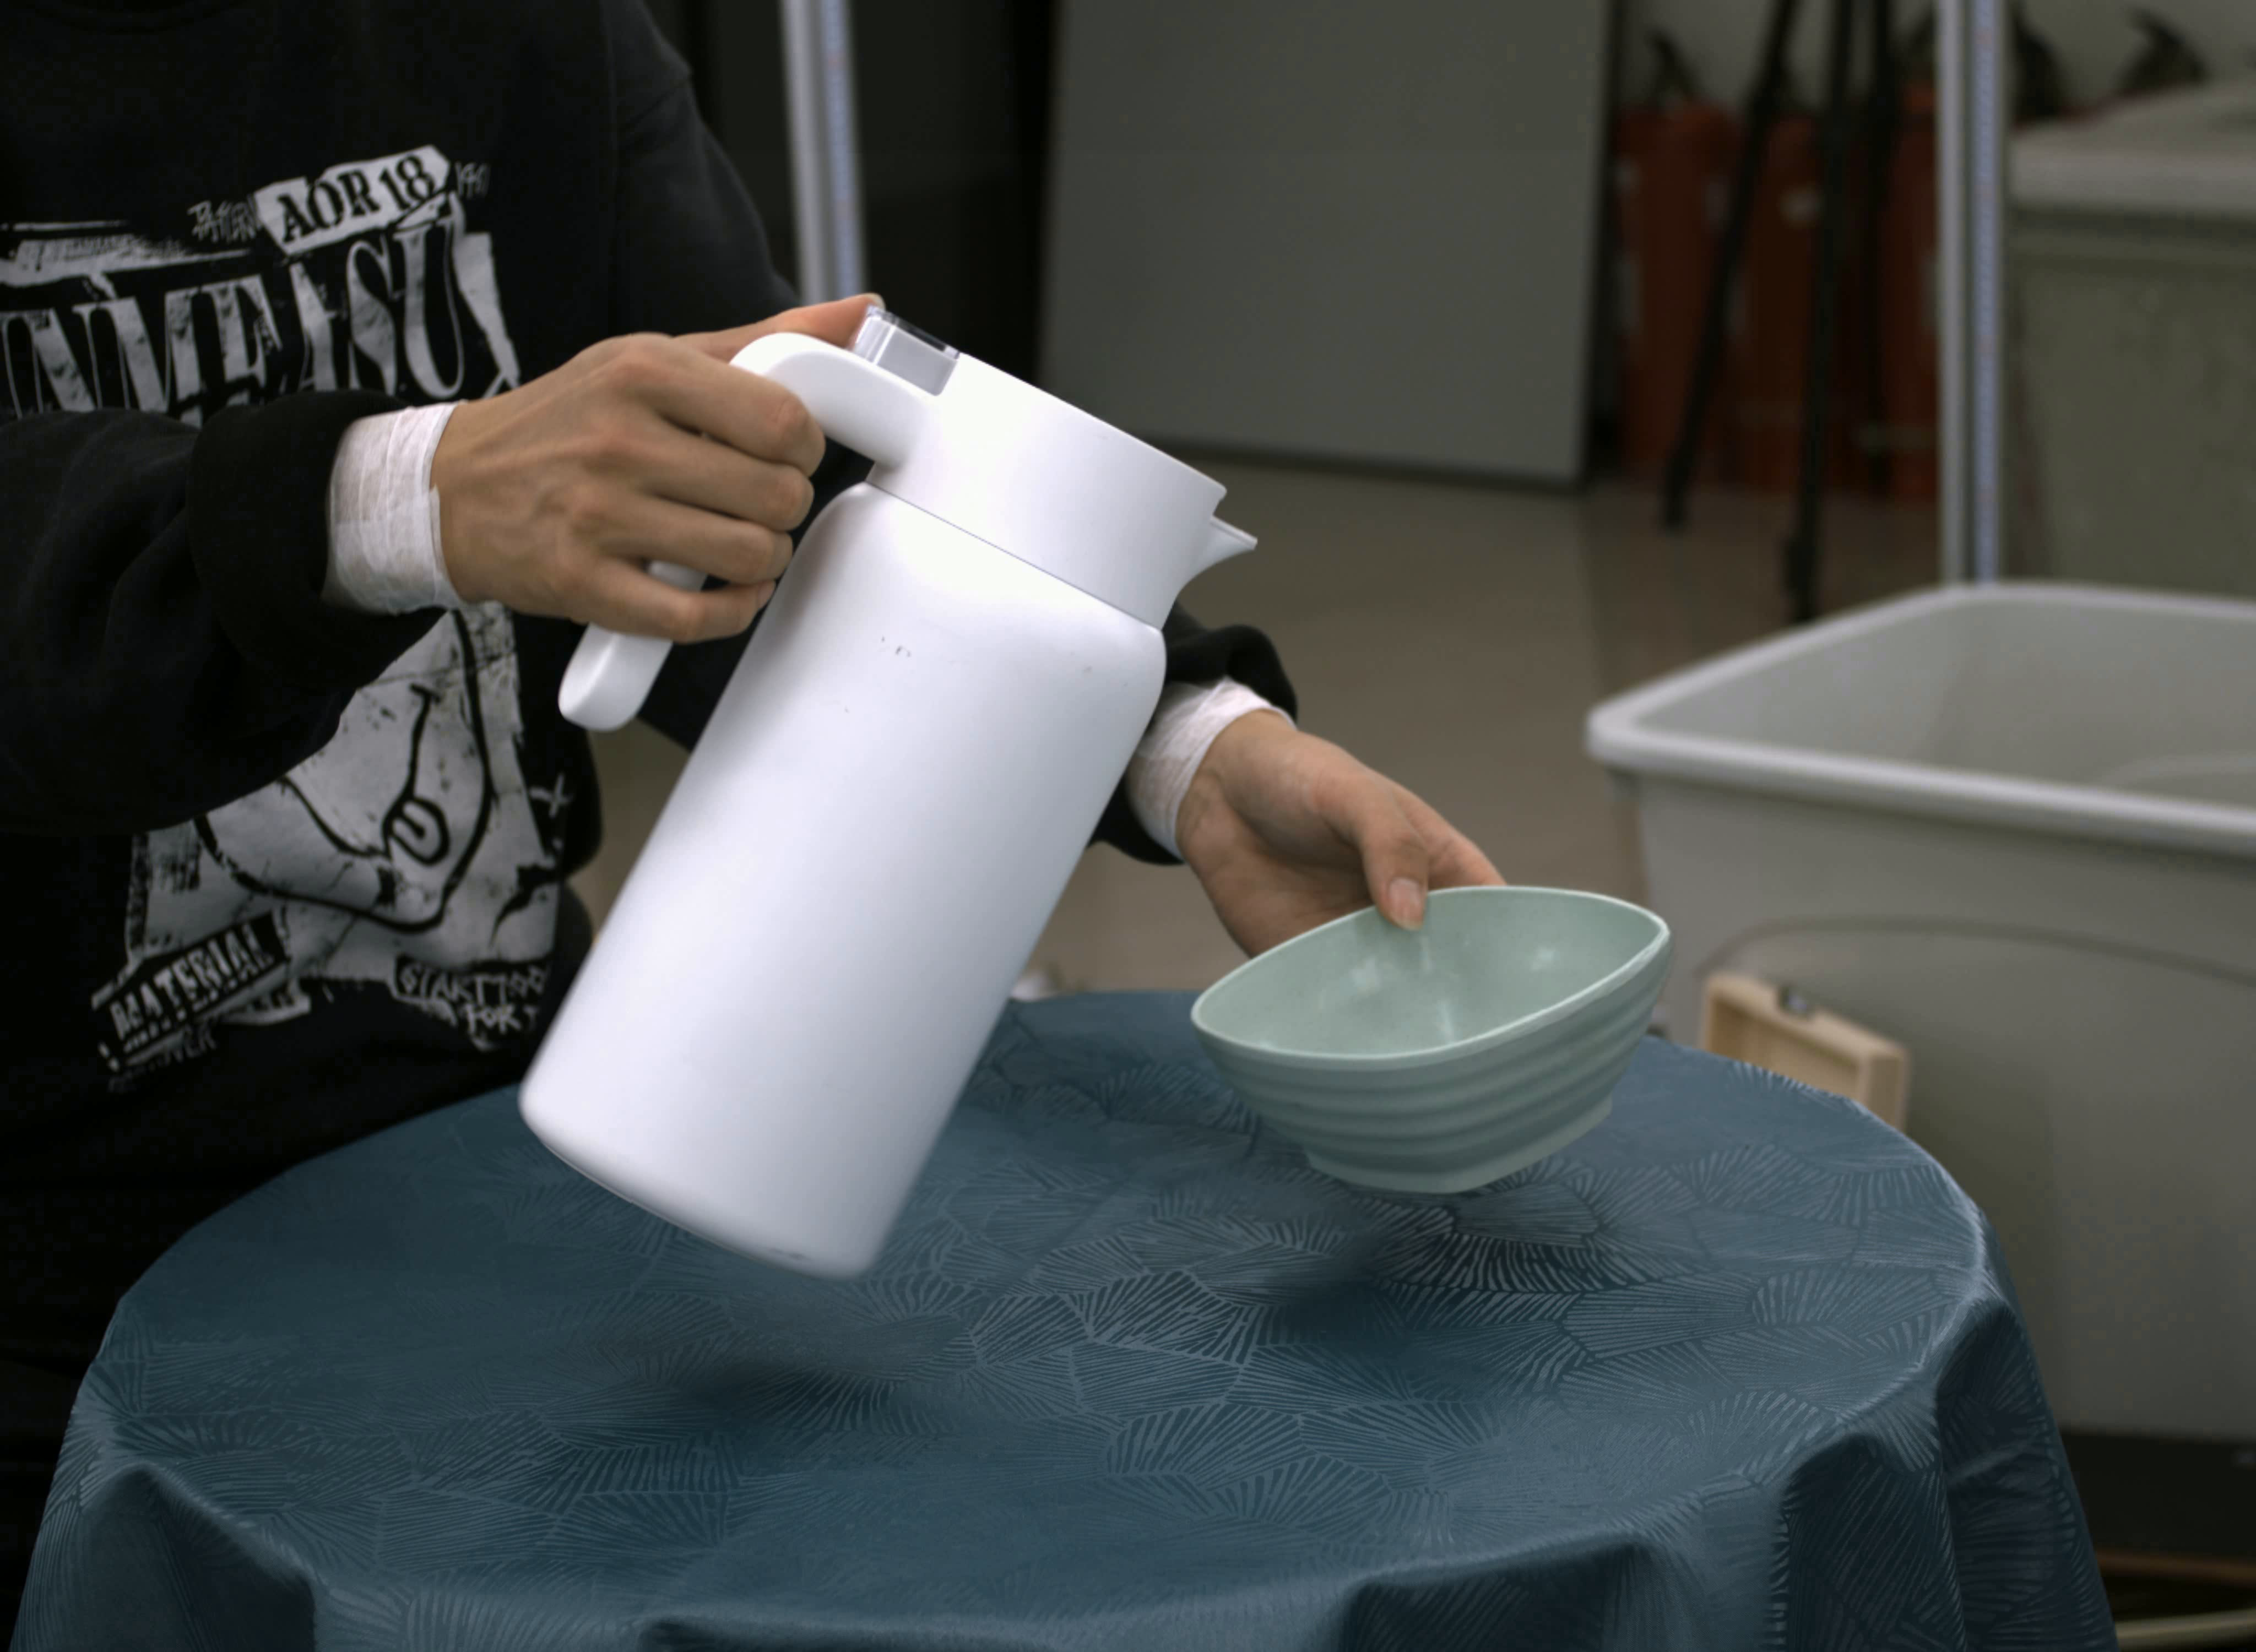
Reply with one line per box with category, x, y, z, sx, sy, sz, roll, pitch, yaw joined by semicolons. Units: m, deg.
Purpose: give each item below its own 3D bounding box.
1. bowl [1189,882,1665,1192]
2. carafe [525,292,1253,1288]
bowl;0.097;0.070;1.677;0.150;0.059;0.152;-12;16;2
carafe;-0.086;-0.013;1.586;0.170;0.271;0.125;25;3;-23
